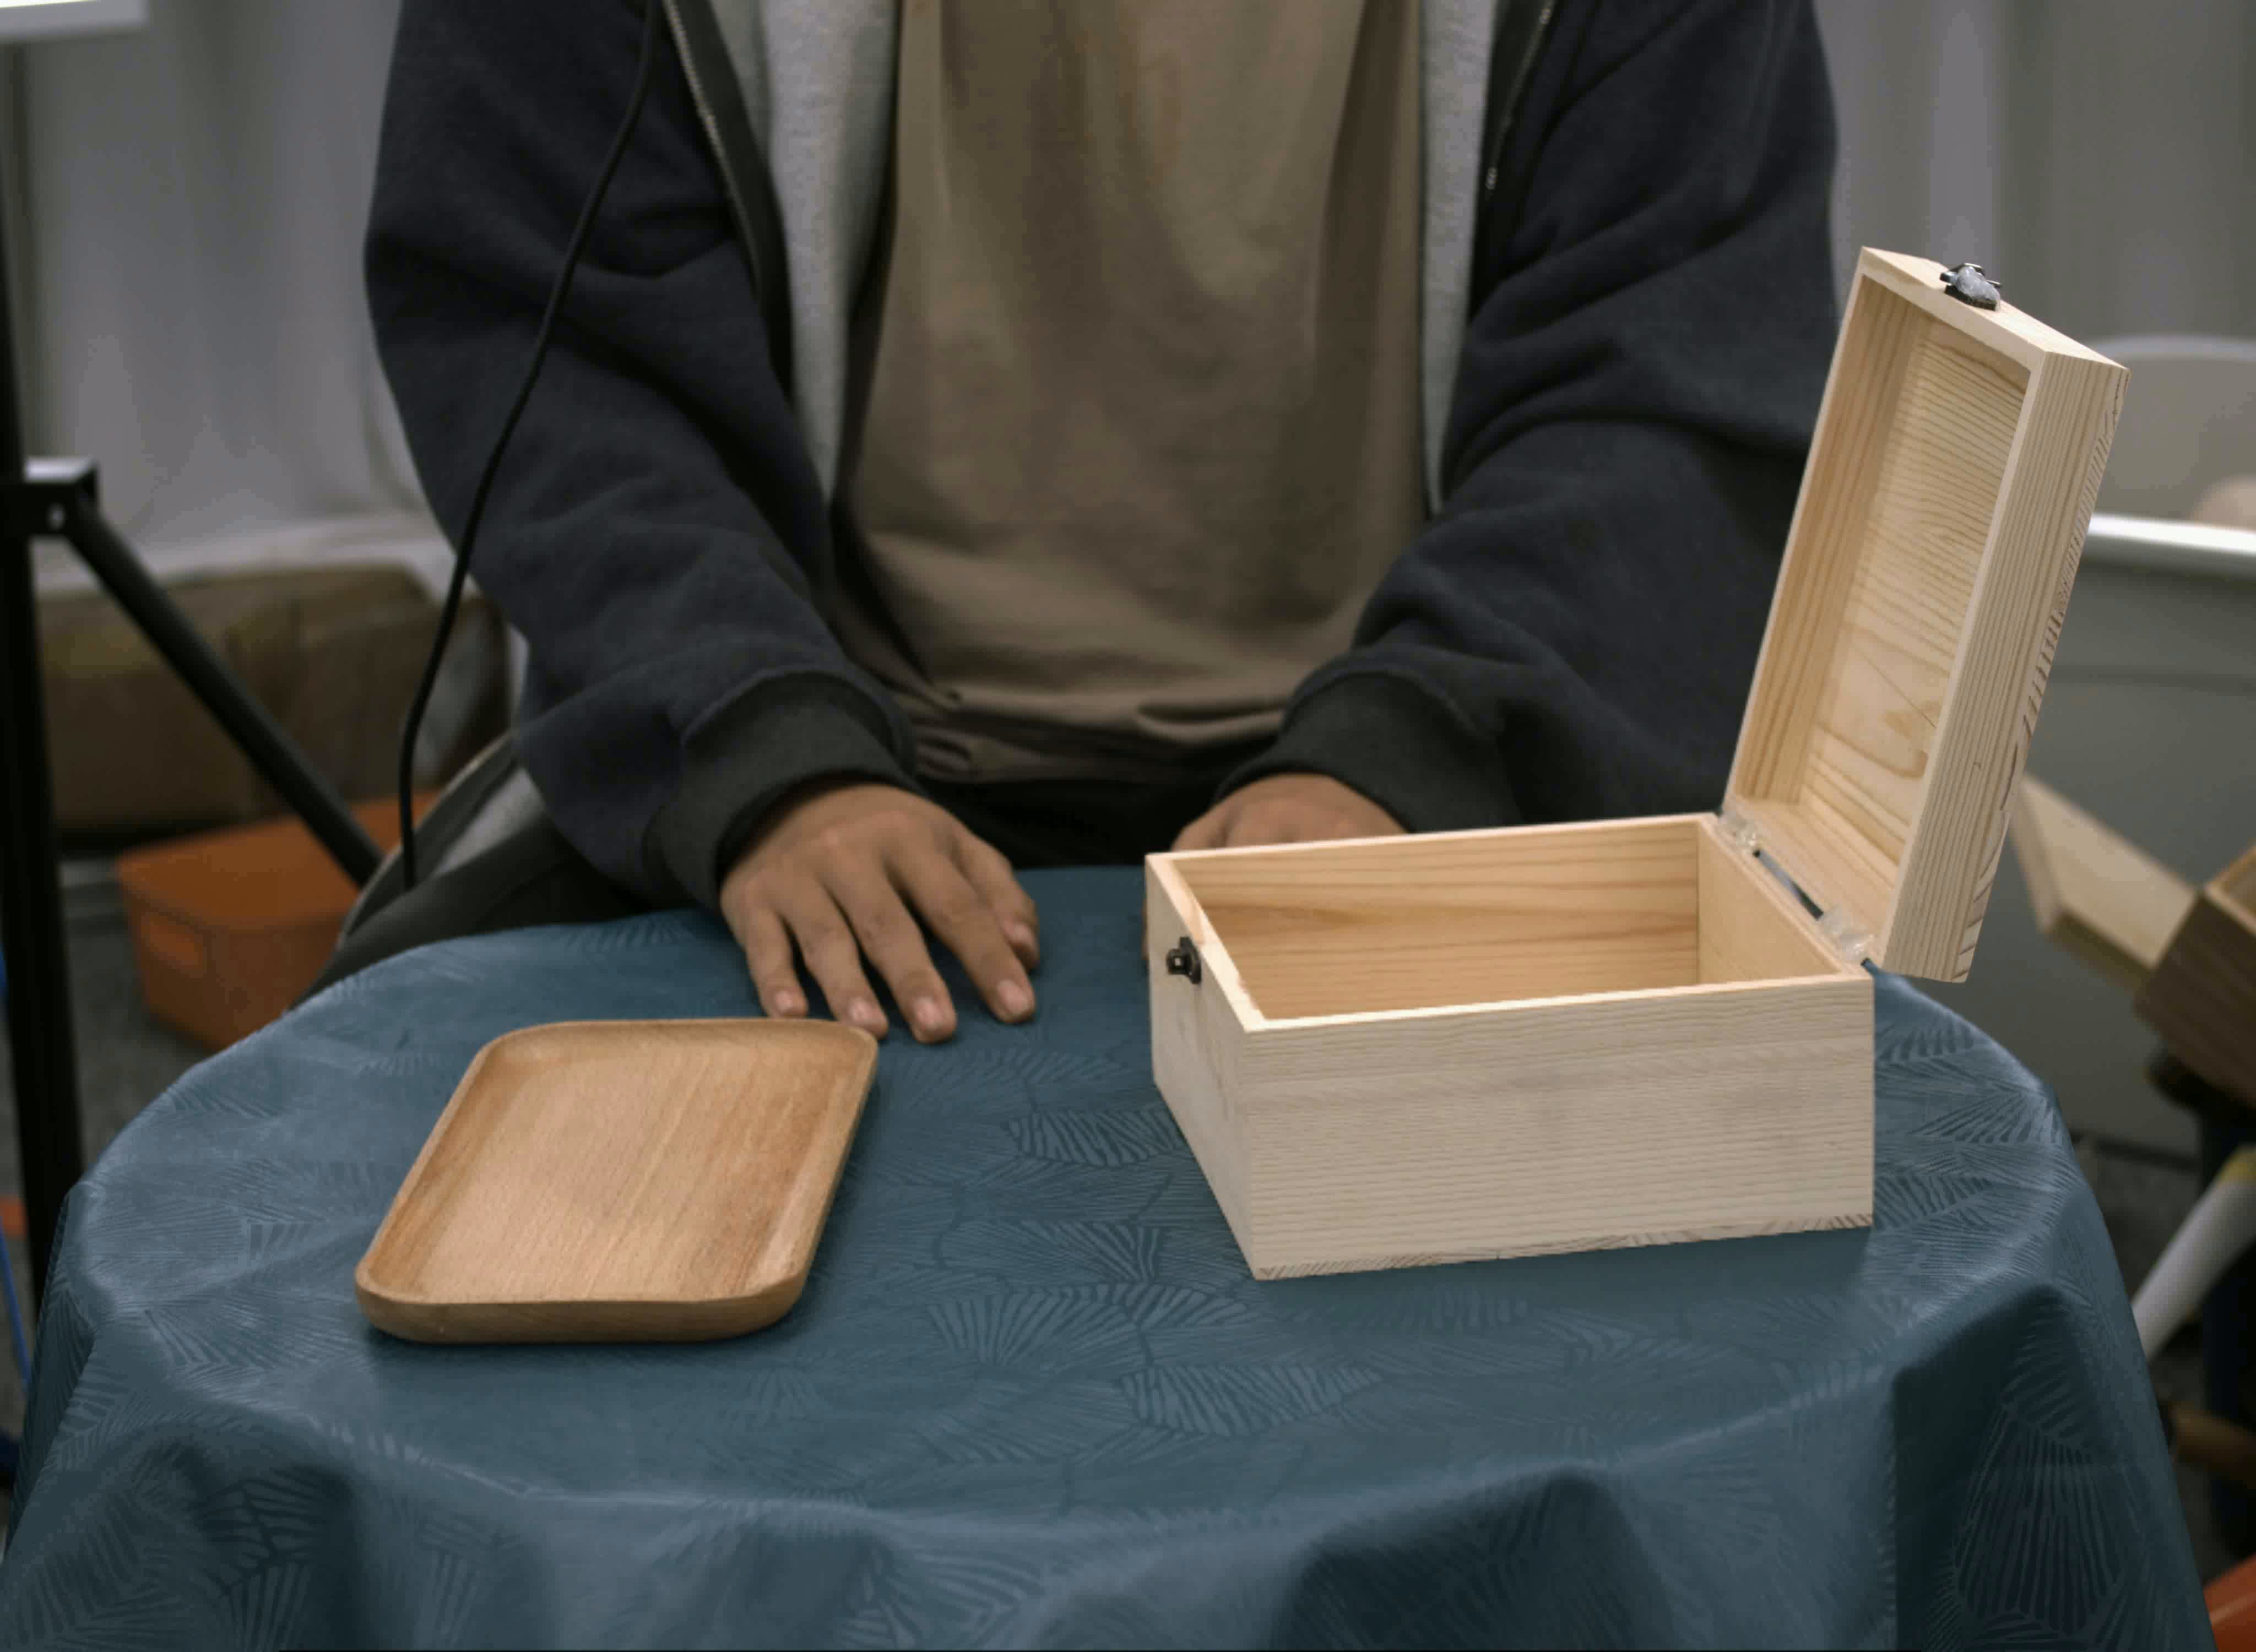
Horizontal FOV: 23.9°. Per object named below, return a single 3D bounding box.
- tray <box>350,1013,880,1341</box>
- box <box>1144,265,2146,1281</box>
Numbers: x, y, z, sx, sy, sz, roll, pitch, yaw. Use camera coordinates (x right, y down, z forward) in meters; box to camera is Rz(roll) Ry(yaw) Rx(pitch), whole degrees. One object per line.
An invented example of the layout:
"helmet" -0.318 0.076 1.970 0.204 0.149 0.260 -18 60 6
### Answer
"tray" -0.147 0.101 1.576 0.130 0.023 0.250 2 16 4
"box" 0.141 -0.023 1.553 0.262 0.253 0.183 -3 12 -7
